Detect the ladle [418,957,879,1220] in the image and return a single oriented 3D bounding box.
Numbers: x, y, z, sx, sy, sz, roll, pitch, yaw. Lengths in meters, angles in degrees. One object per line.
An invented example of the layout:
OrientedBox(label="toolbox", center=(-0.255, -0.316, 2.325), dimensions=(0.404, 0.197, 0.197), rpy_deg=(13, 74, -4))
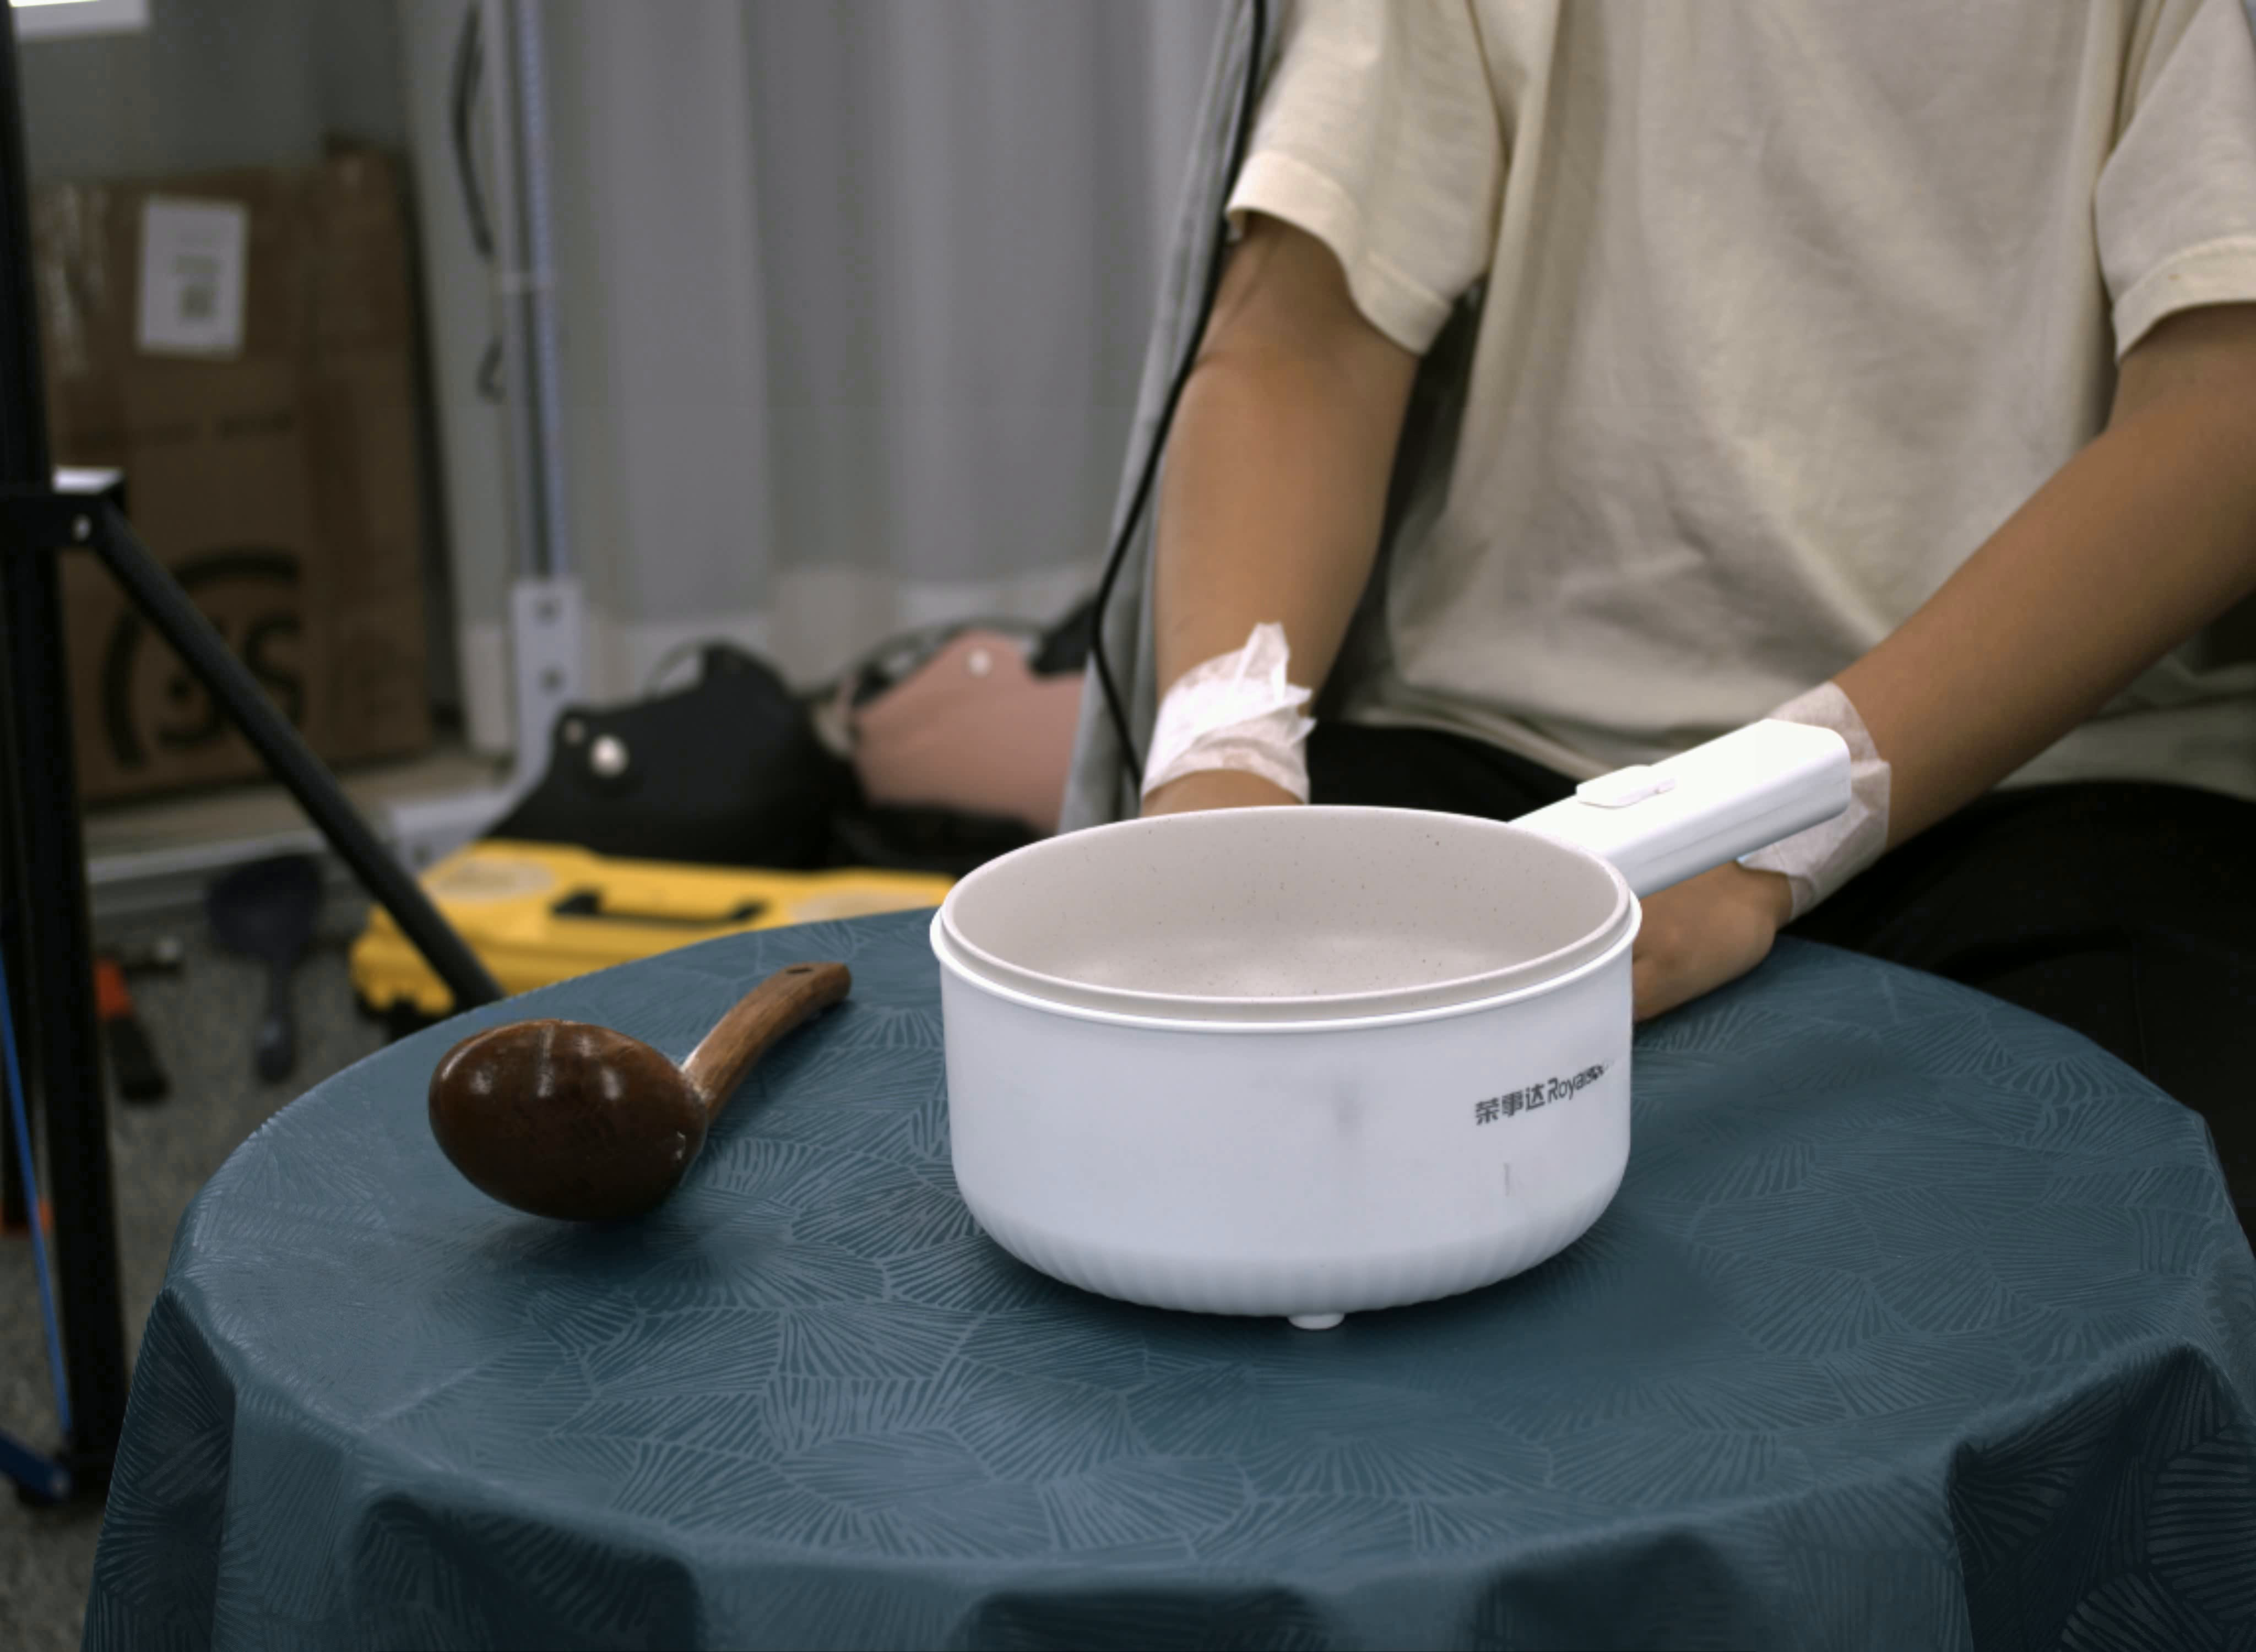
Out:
OrientedBox(label="ladle", center=(-0.135, 0.055, 1.621), dimensions=(0.082, 0.076, 0.271), rpy_deg=(1, 17, 17))

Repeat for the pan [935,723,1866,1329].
OrientedBox(label="pan", center=(0.098, 0.052, 1.557), dimensions=(0.206, 0.102, 0.347), rpy_deg=(11, 20, 42))
